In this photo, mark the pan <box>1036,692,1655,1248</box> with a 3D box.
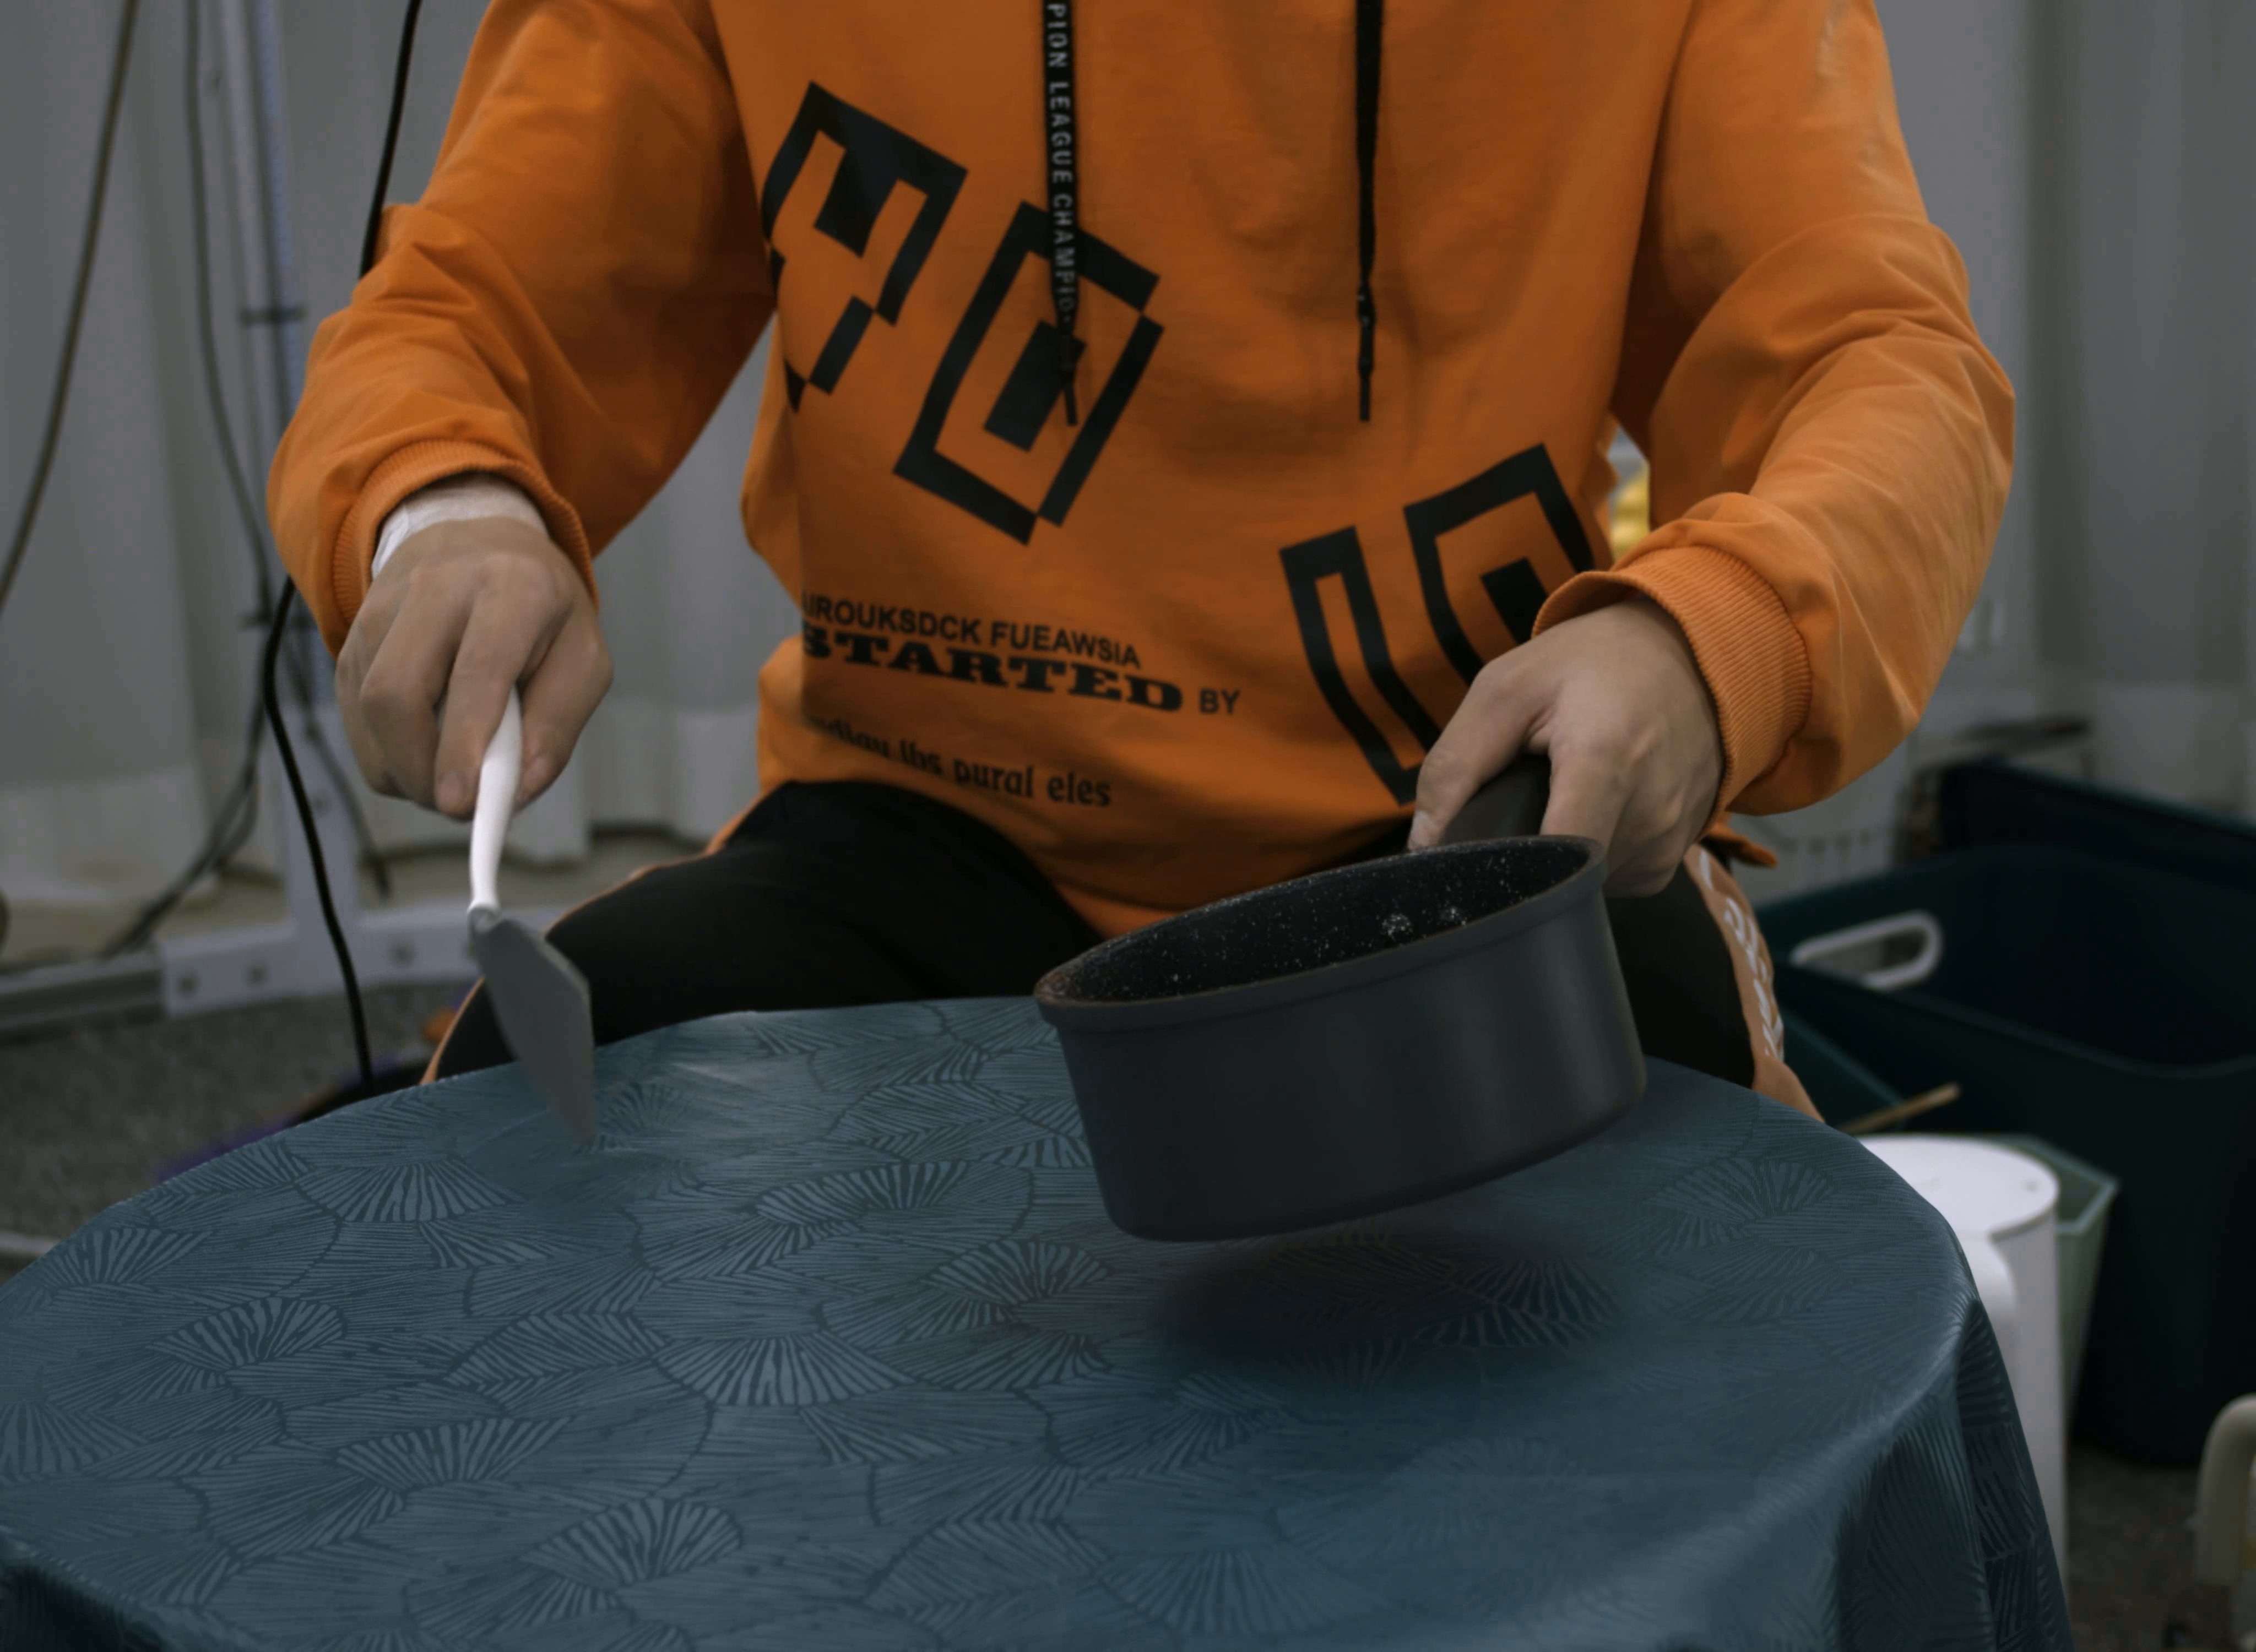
[{"bbox_3d":[0.096,0.040,1.658,0.172,0.086,0.329,-10,11,27],"label":"pan"}]

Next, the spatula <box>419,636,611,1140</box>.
[{"bbox_3d":[-0.188,0.011,1.685,0.032,0.058,0.291,-2,25,-12],"label":"spatula"}]
